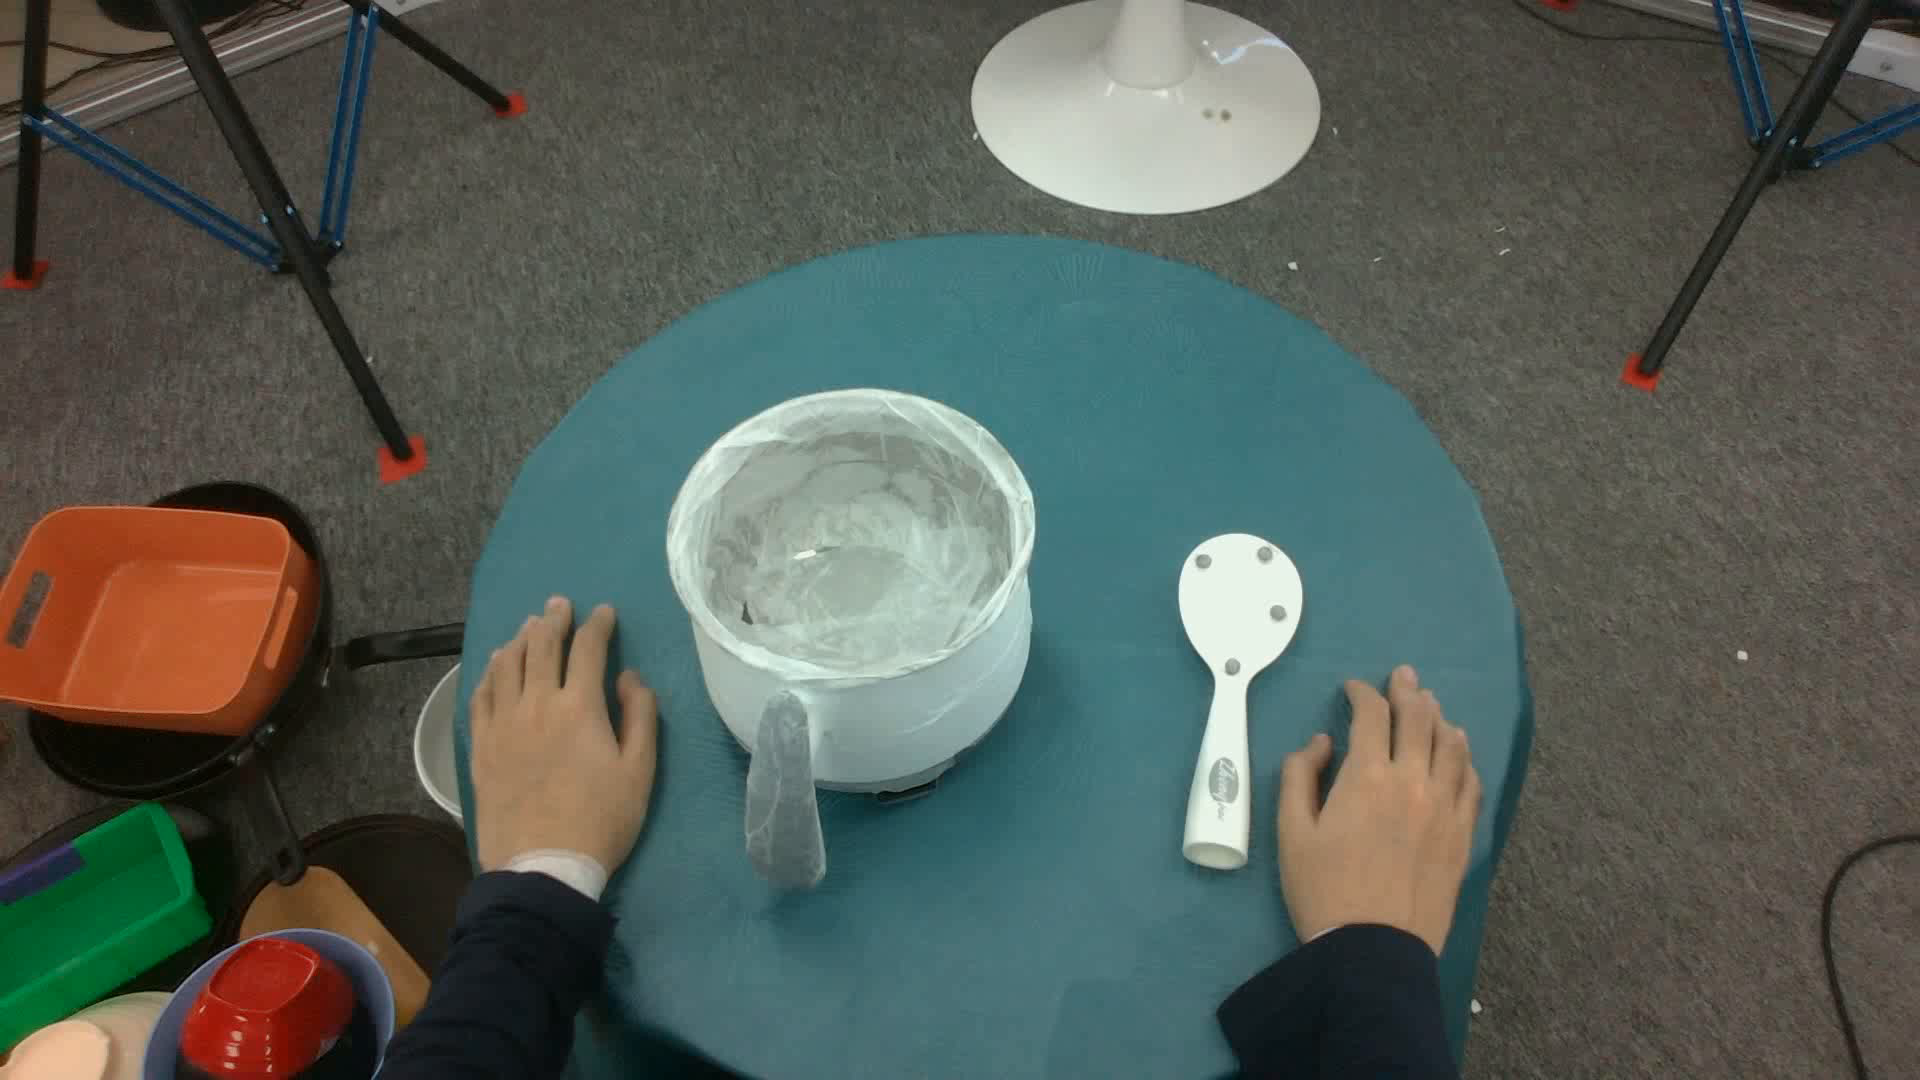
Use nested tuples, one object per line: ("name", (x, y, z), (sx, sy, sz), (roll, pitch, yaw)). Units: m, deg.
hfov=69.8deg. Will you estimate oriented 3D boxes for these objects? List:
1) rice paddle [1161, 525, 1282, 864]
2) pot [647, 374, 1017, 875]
("rice paddle", (0.137, 0.072, 0.741), (0.069, 0.029, 0.206), (10, 55, 4))
("pot", (-0.065, 0.044, 0.694), (0.178, 0.136, 0.235), (8, 53, 9))
